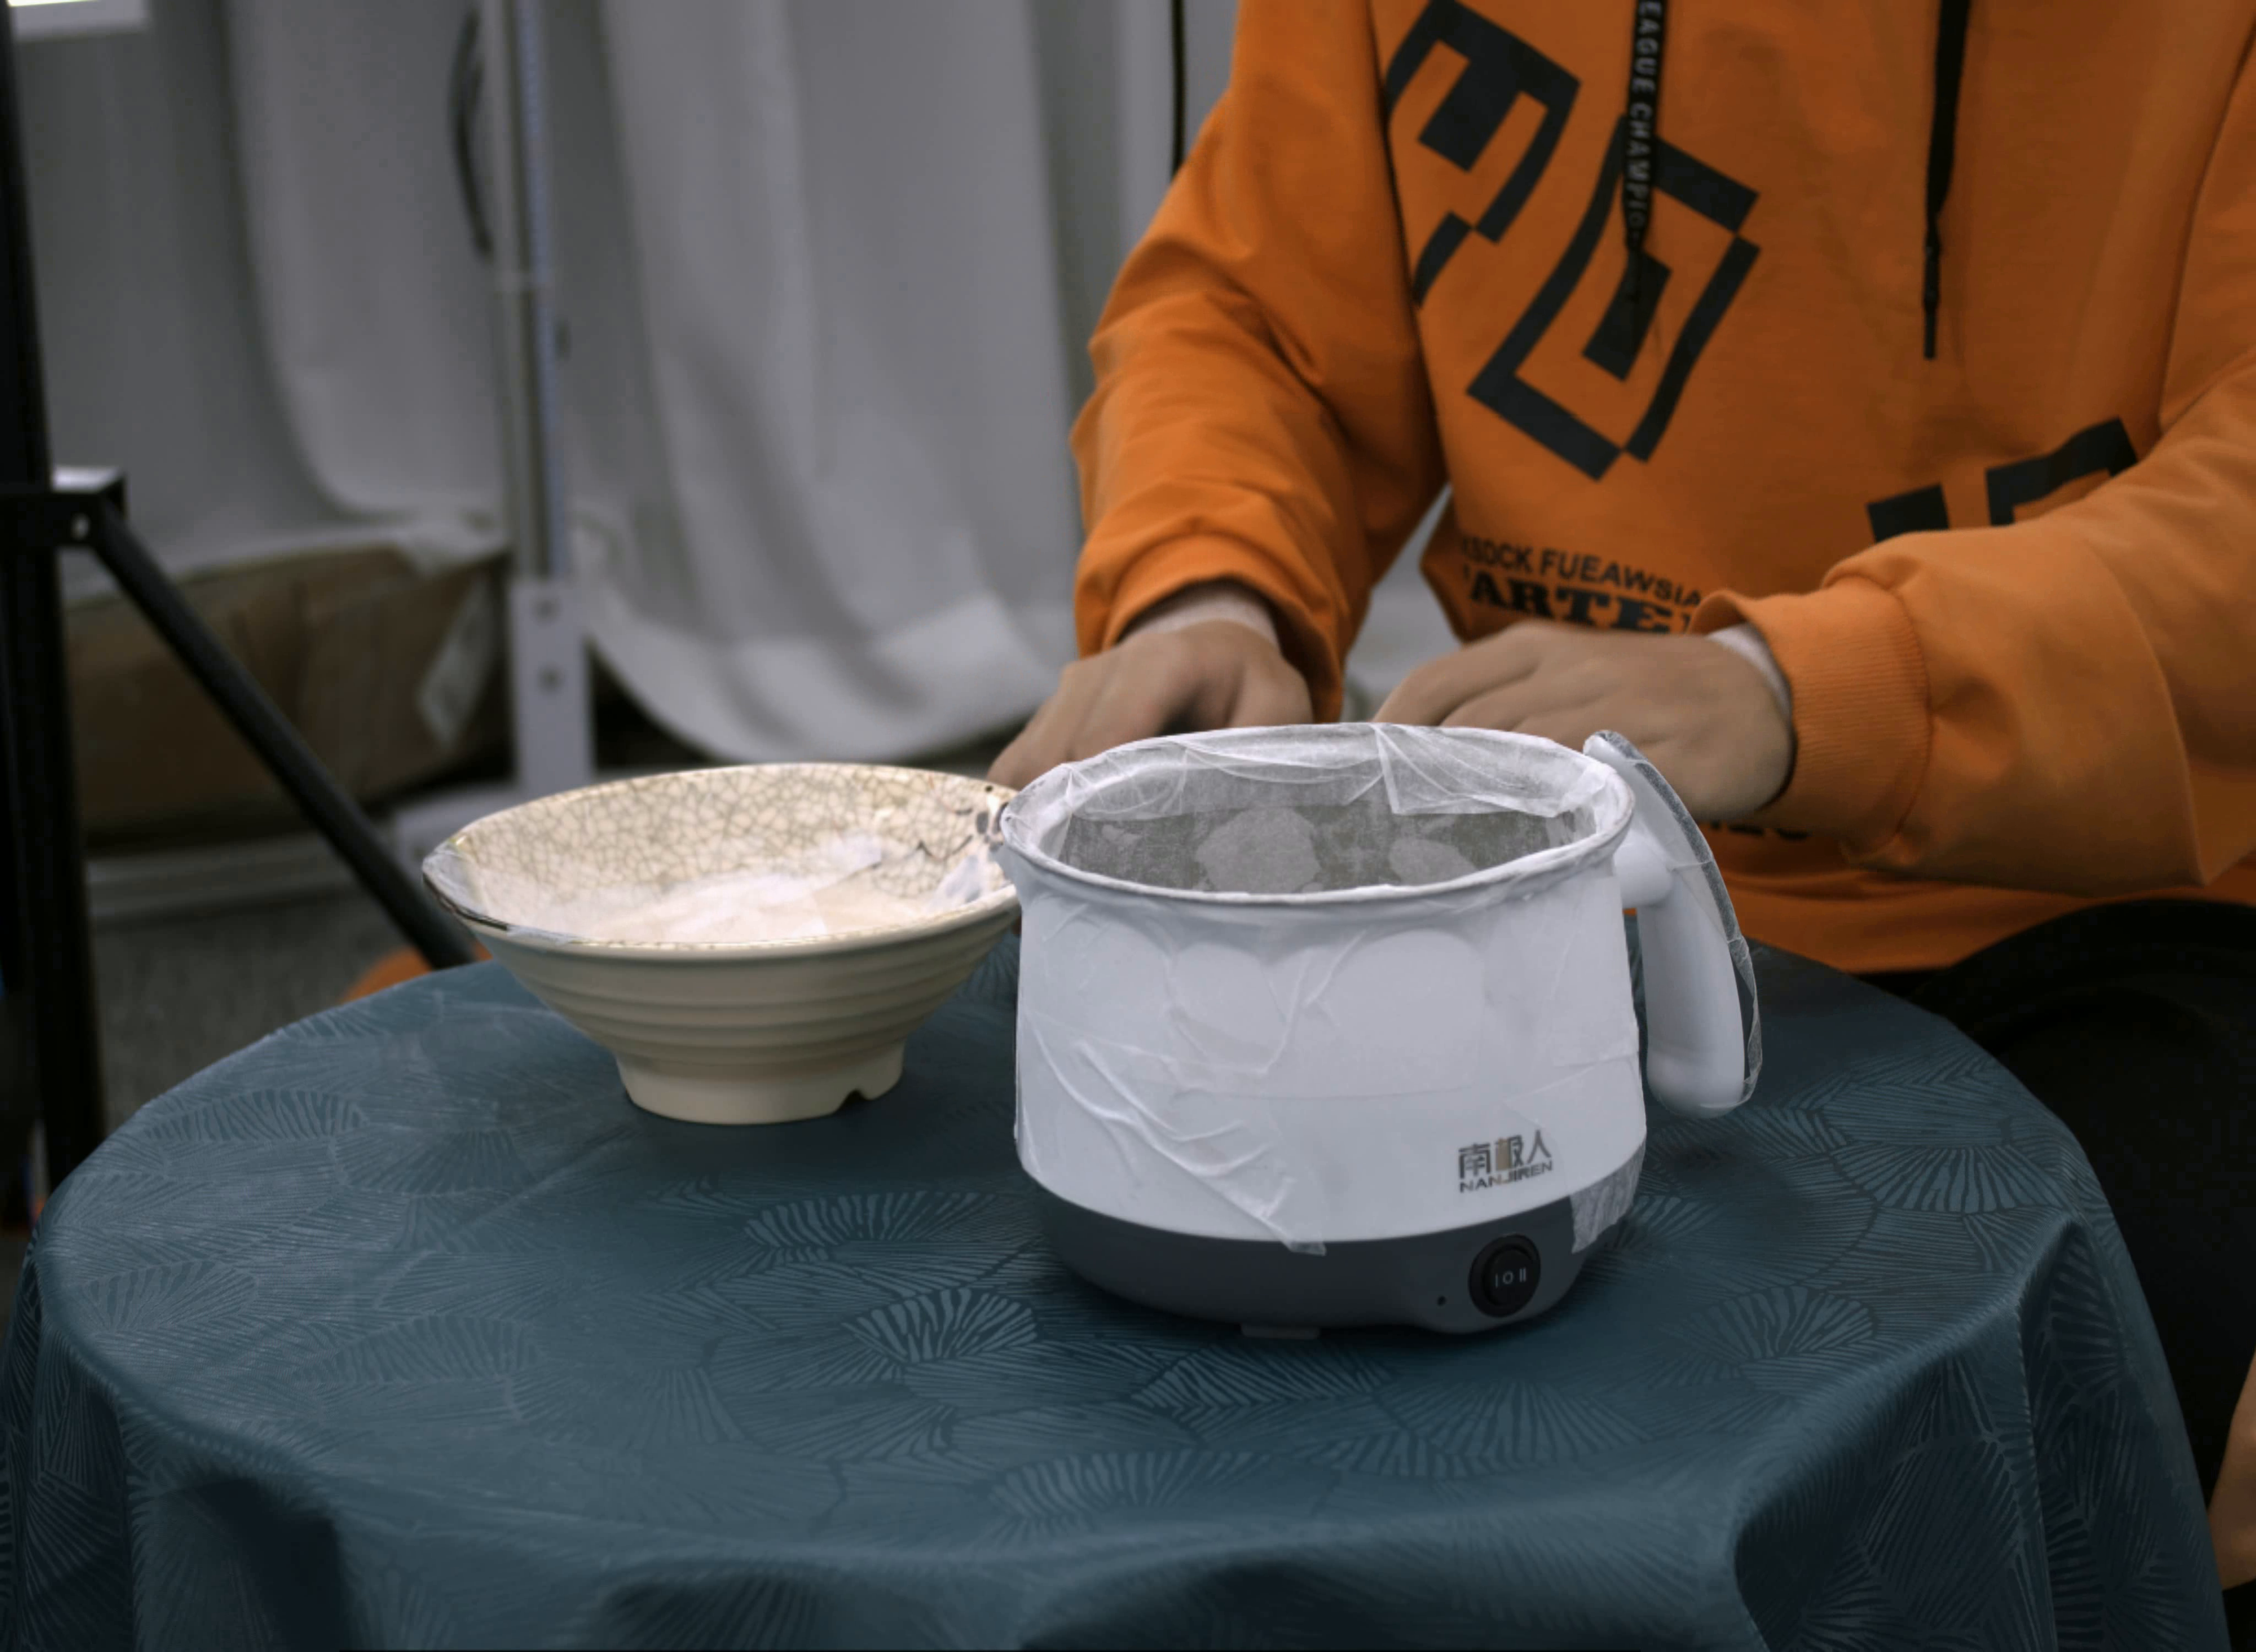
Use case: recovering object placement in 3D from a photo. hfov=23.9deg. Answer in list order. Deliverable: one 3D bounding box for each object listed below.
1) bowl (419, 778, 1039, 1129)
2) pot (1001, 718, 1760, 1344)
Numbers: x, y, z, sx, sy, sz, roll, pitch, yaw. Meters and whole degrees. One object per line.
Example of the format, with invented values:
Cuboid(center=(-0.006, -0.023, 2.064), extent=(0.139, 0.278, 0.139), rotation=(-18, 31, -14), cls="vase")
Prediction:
Cuboid(center=(-0.118, 0.045, 1.664), extent=(0.203, 0.078, 0.205), rotation=(-1, 13, -1), cls="bowl")
Cuboid(center=(0.079, 0.050, 1.496), extent=(0.228, 0.136, 0.183), rotation=(-12, 19, -30), cls="pot")
